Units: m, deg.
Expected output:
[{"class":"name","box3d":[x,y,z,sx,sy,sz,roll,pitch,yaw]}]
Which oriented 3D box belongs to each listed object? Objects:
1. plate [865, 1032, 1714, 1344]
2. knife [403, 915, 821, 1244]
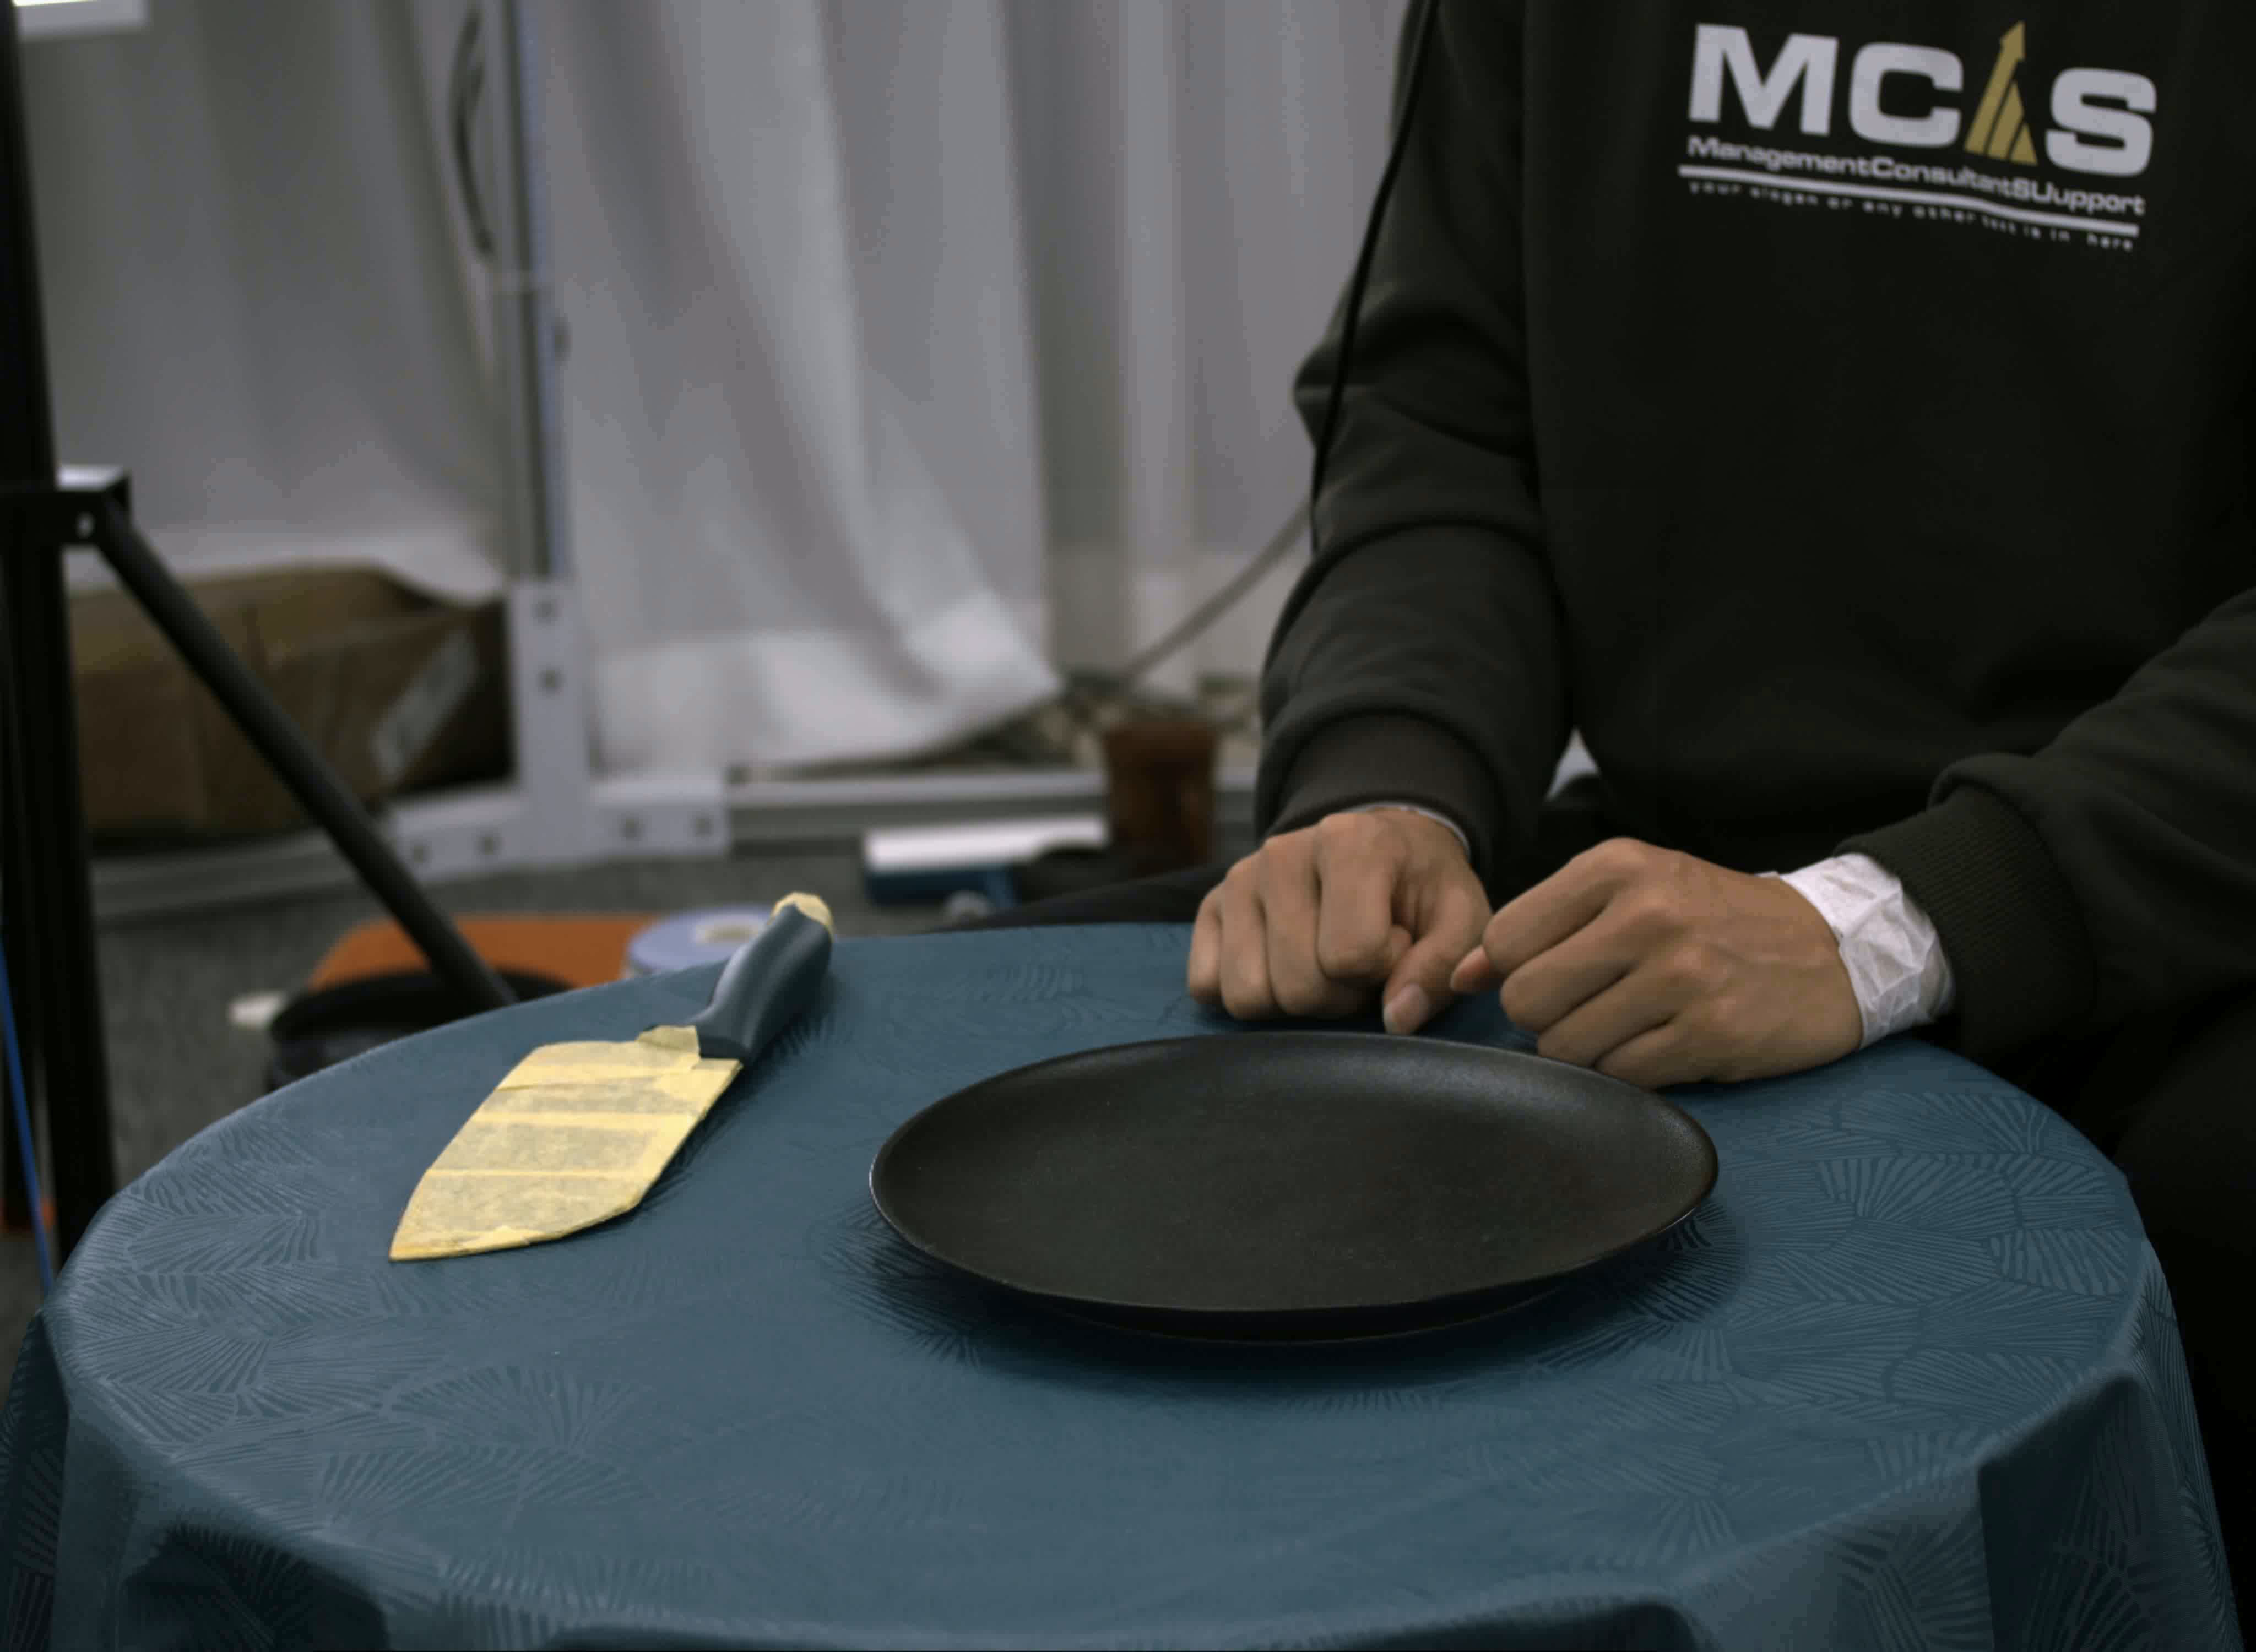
[{"class":"plate","box3d":[0.046,0.106,1.520,0.243,0.023,0.245,-3,16,-1]},{"class":"knife","box3d":[-0.156,0.079,1.663,0.081,0.027,0.287,3,17,15]}]
